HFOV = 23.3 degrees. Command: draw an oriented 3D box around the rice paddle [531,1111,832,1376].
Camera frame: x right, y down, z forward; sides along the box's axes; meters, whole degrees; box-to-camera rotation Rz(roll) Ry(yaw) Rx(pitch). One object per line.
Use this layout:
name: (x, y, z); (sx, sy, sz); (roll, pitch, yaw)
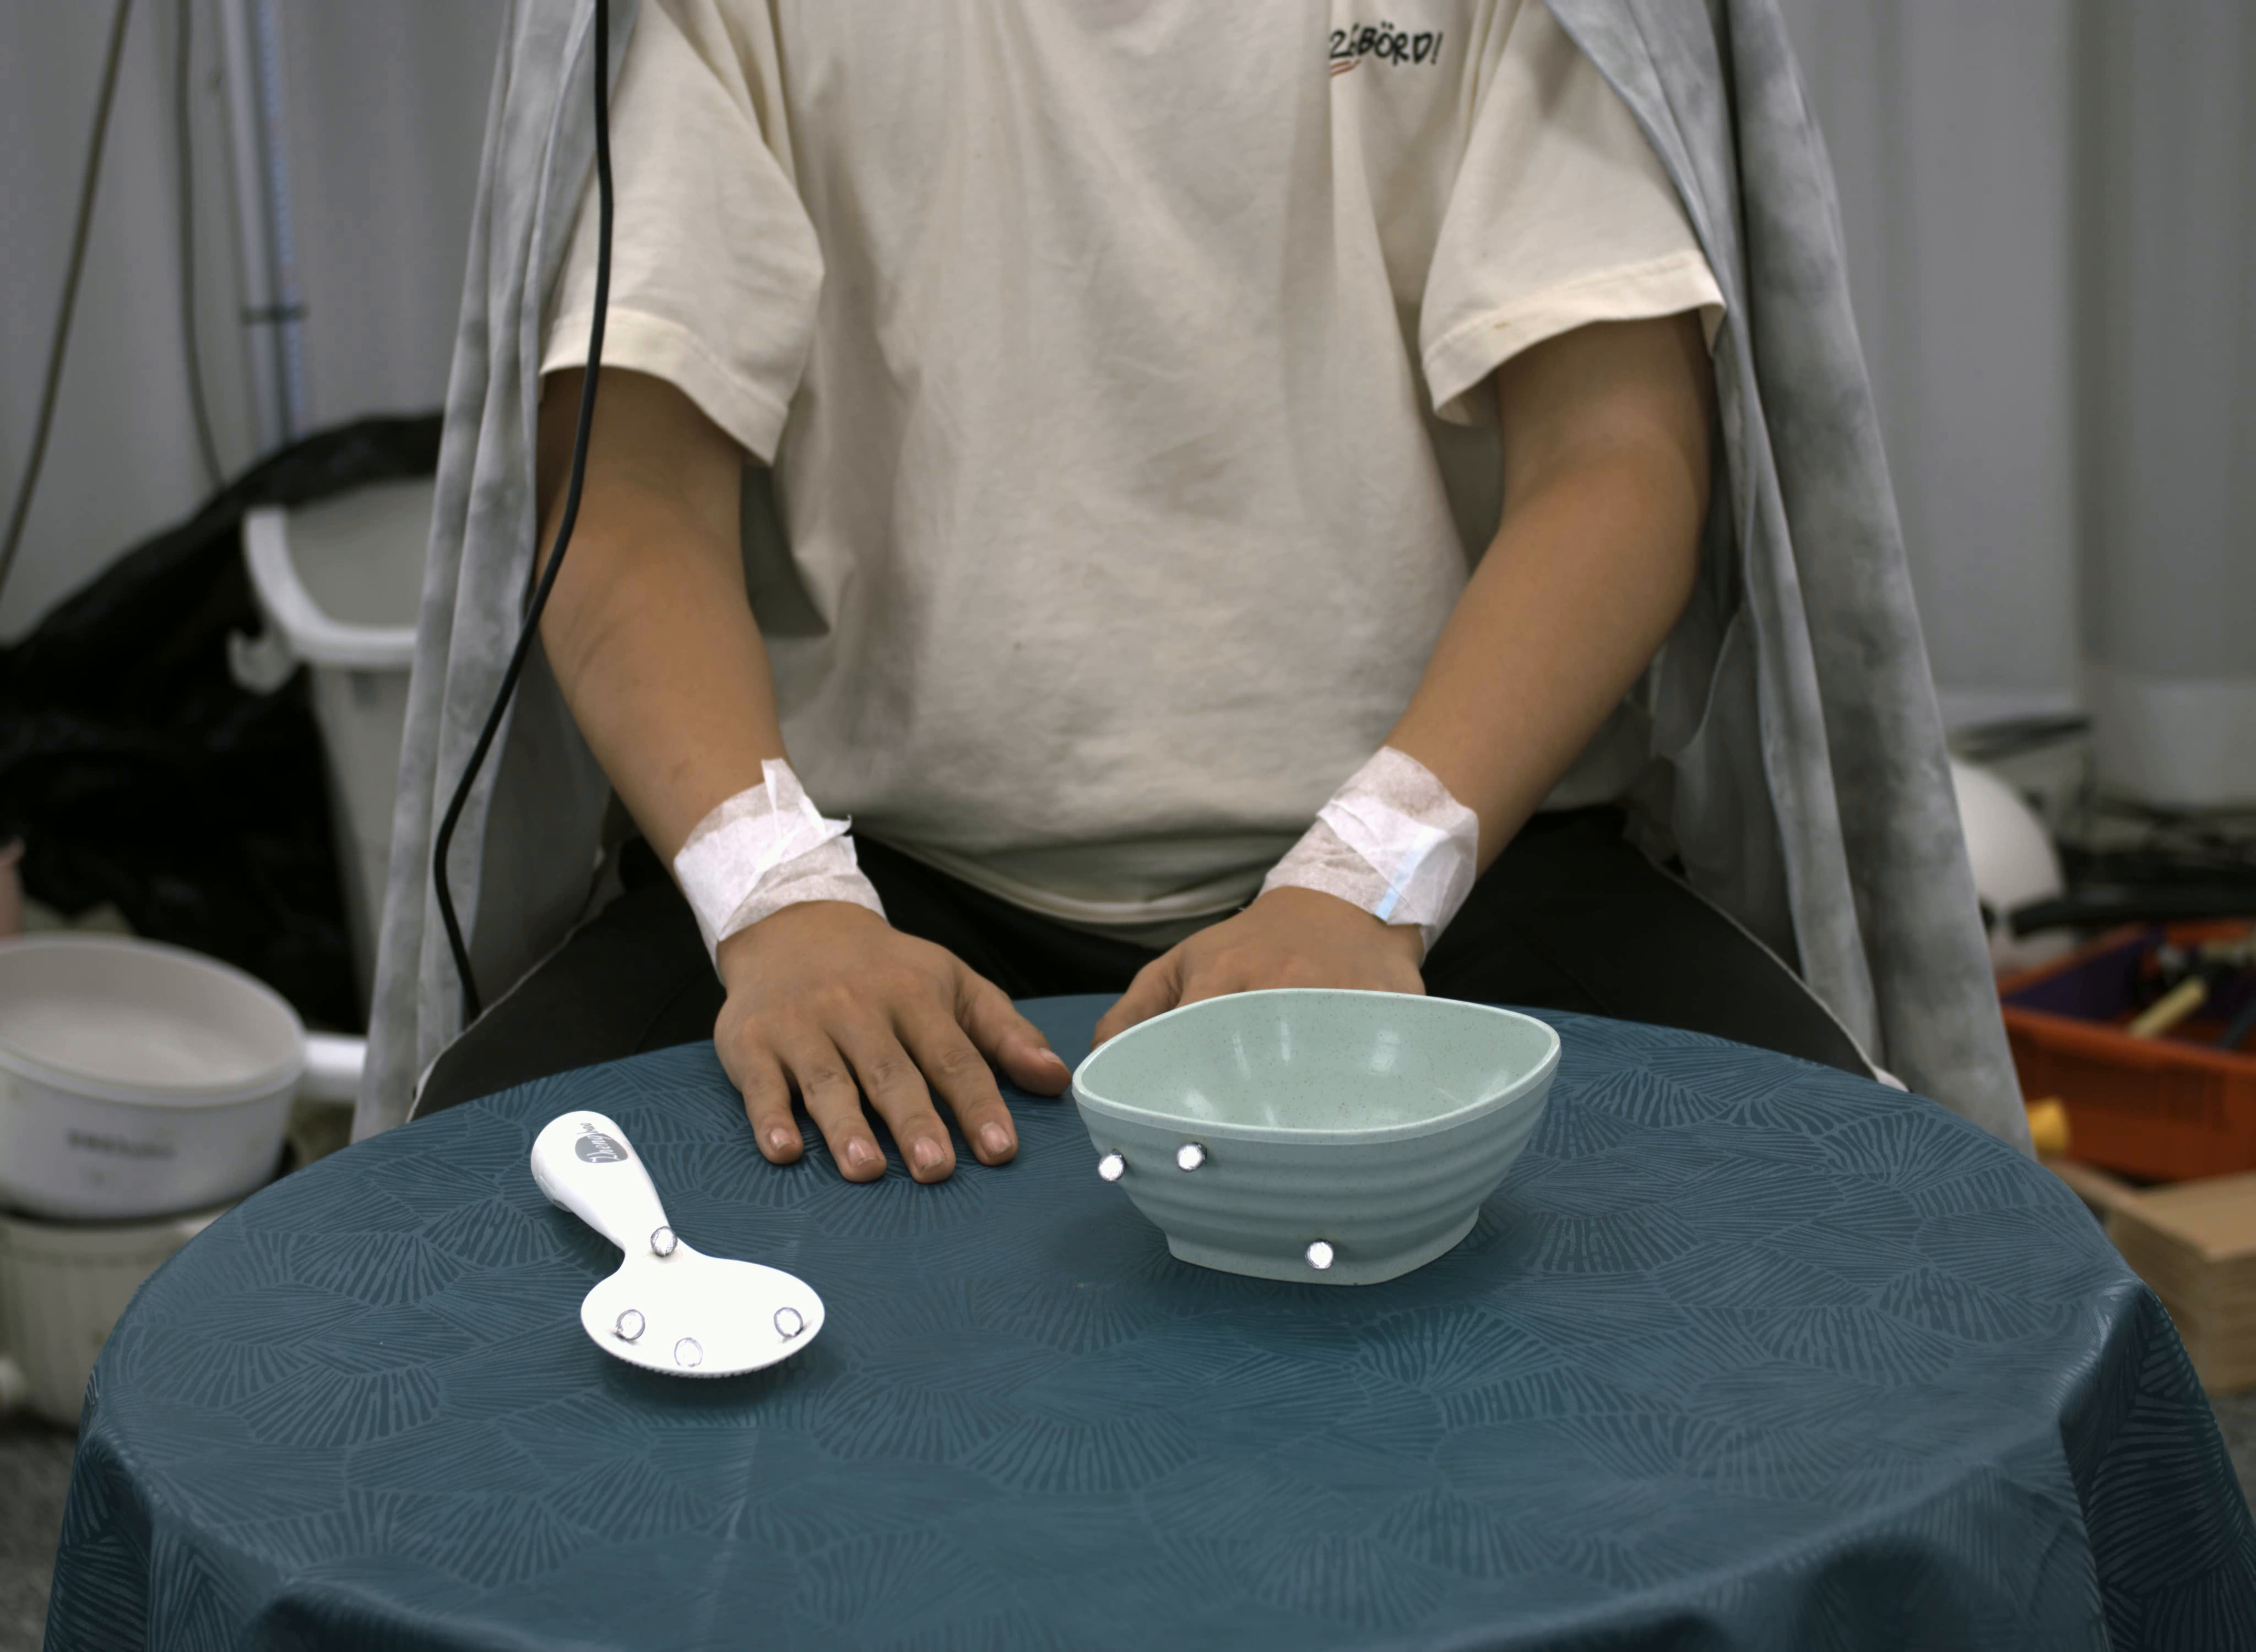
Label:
rice paddle: (-0.140, 0.127, 1.641); (0.068, 0.029, 0.207); (-9, 16, -17)

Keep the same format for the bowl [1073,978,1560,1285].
bowl: (0.060, 0.096, 1.660); (0.151, 0.058, 0.152); (-6, 16, 1)
